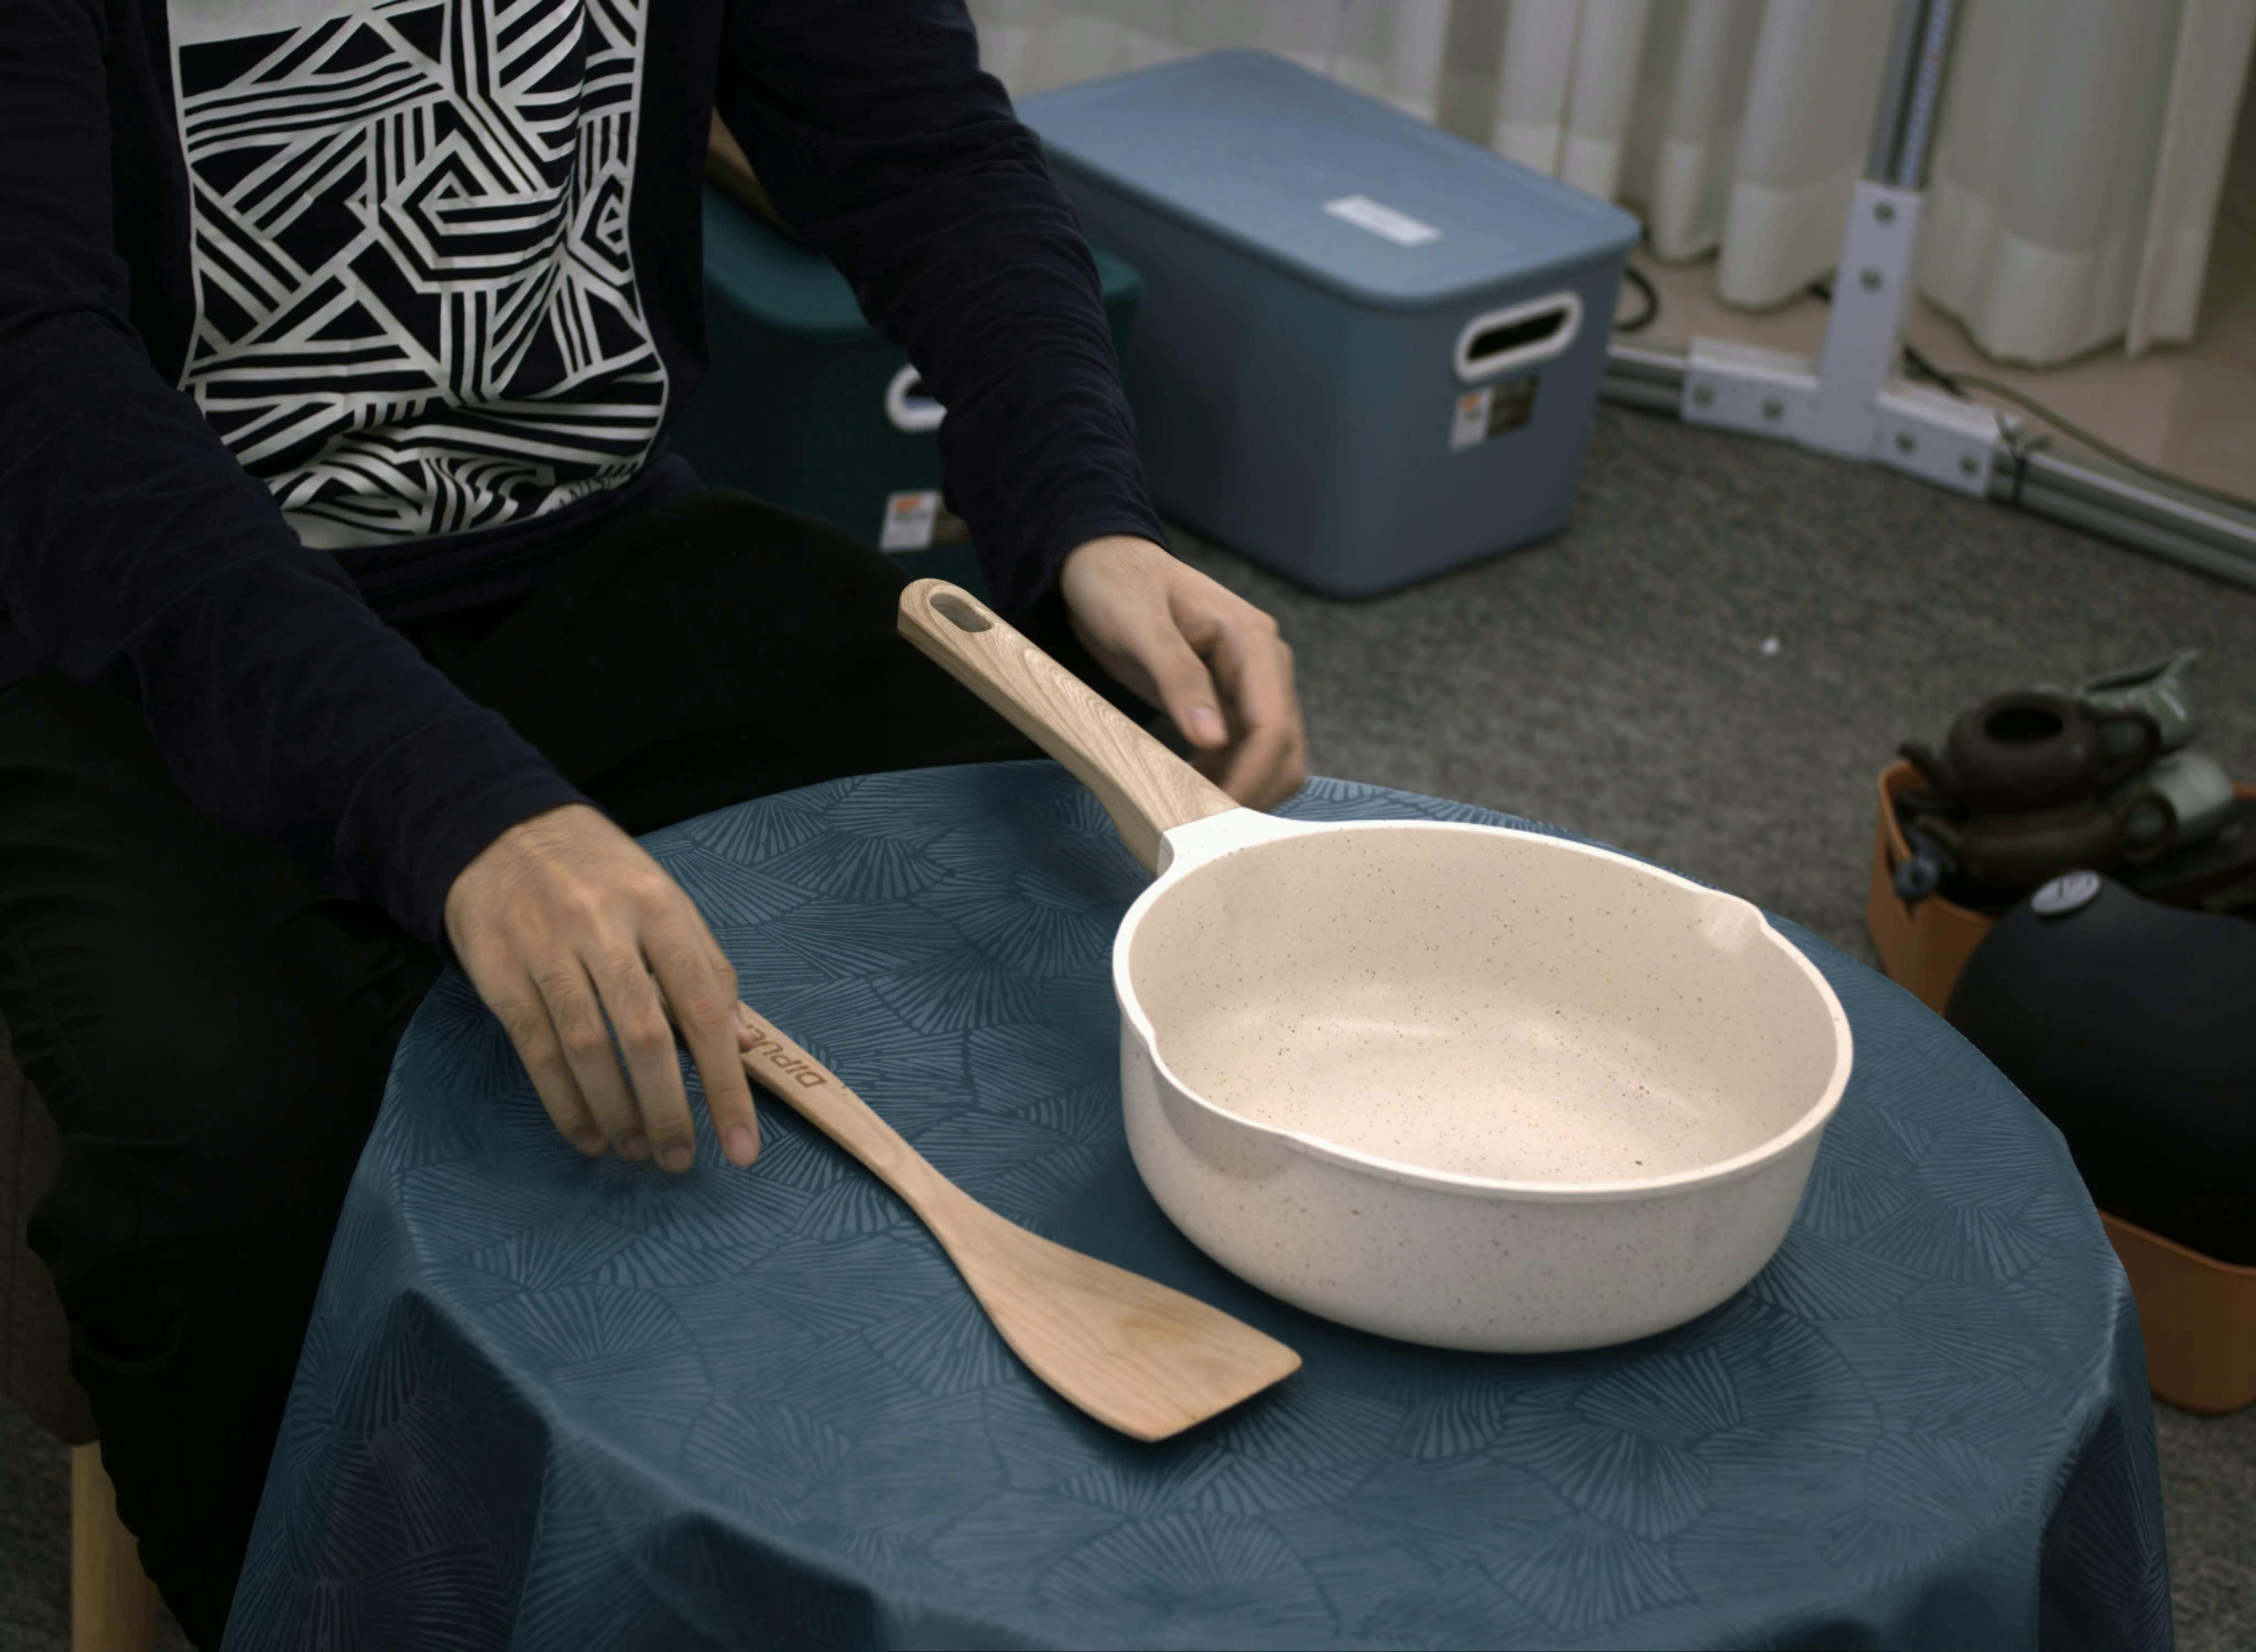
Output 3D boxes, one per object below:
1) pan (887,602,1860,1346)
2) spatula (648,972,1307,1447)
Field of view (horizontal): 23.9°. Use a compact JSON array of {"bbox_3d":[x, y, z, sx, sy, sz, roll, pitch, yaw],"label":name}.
[{"bbox_3d":[0.058,0.047,1.869,0.262,0.101,0.438,-18,35,-38],"label":"pan"},{"bbox_3d":[-0.063,0.121,1.785,0.079,0.016,0.330,-14,35,-36],"label":"spatula"}]
